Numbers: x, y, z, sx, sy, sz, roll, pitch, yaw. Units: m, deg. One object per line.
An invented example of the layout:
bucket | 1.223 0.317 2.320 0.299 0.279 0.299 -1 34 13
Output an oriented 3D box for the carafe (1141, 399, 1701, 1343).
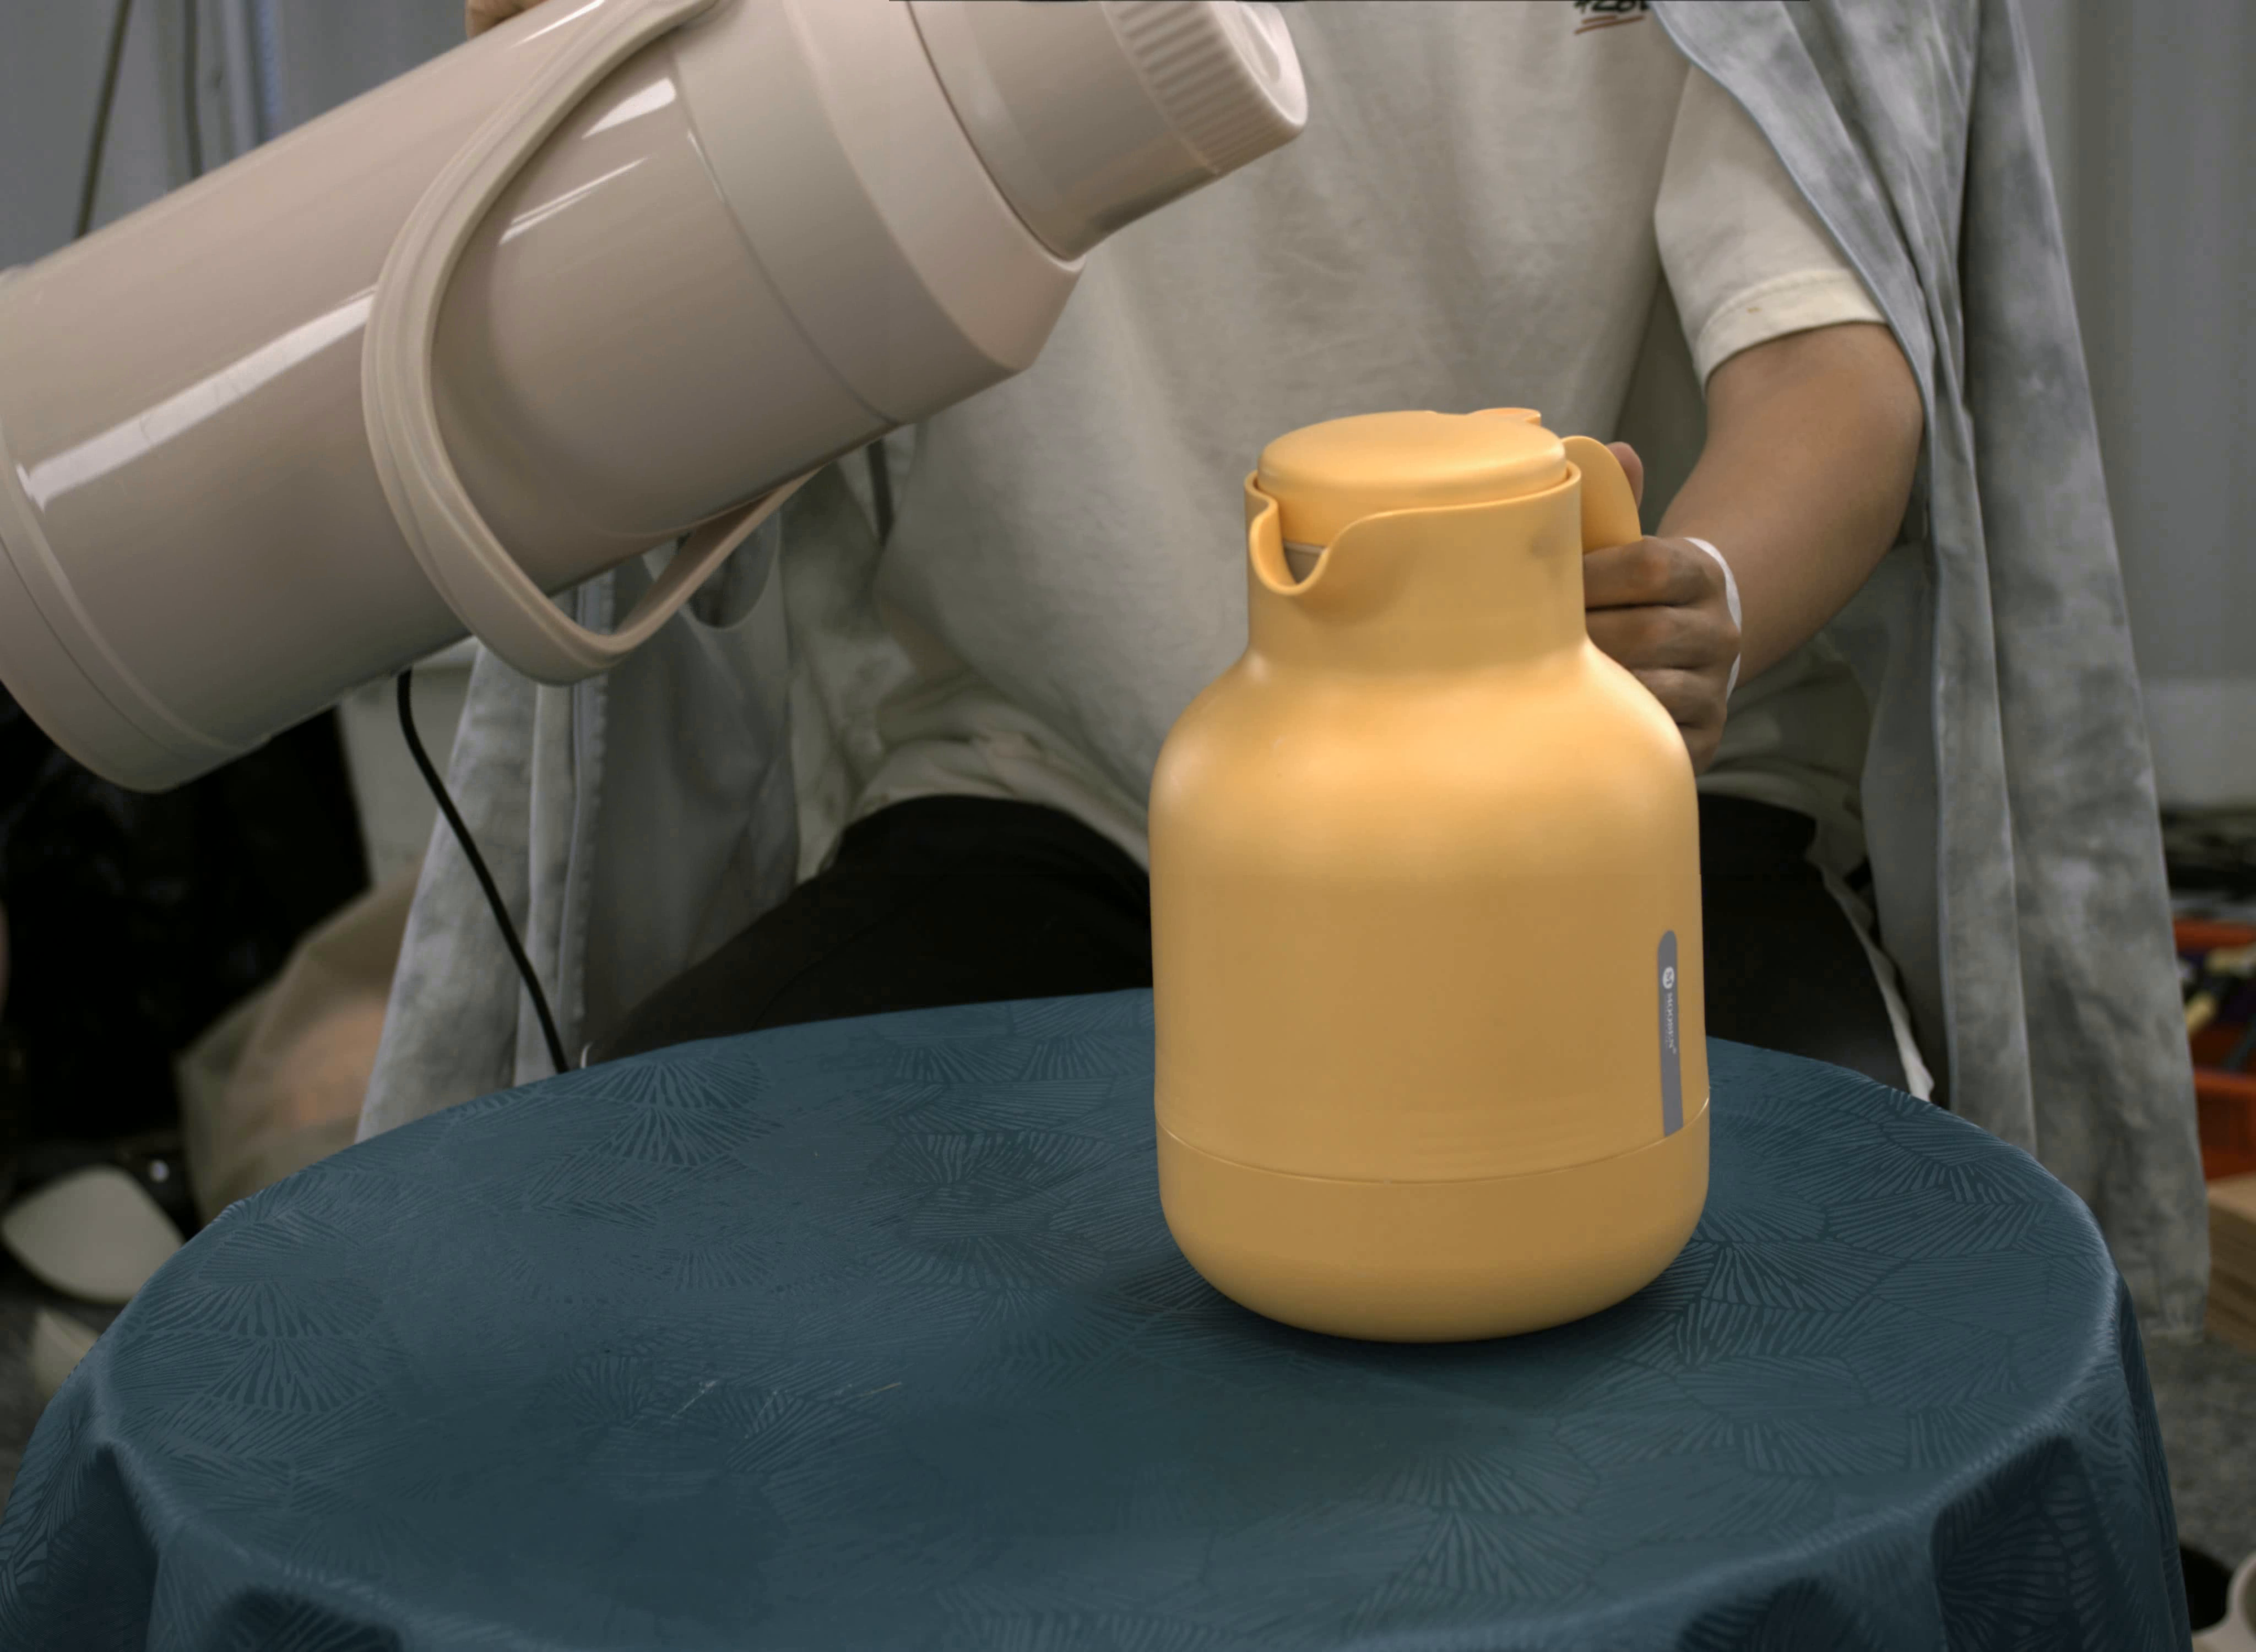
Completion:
carafe | 0.096 0.005 1.609 0.164 0.259 0.202 9 19 33

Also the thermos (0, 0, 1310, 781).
thermos | -0.150 -0.173 1.607 0.405 0.173 0.210 -25 48 16
